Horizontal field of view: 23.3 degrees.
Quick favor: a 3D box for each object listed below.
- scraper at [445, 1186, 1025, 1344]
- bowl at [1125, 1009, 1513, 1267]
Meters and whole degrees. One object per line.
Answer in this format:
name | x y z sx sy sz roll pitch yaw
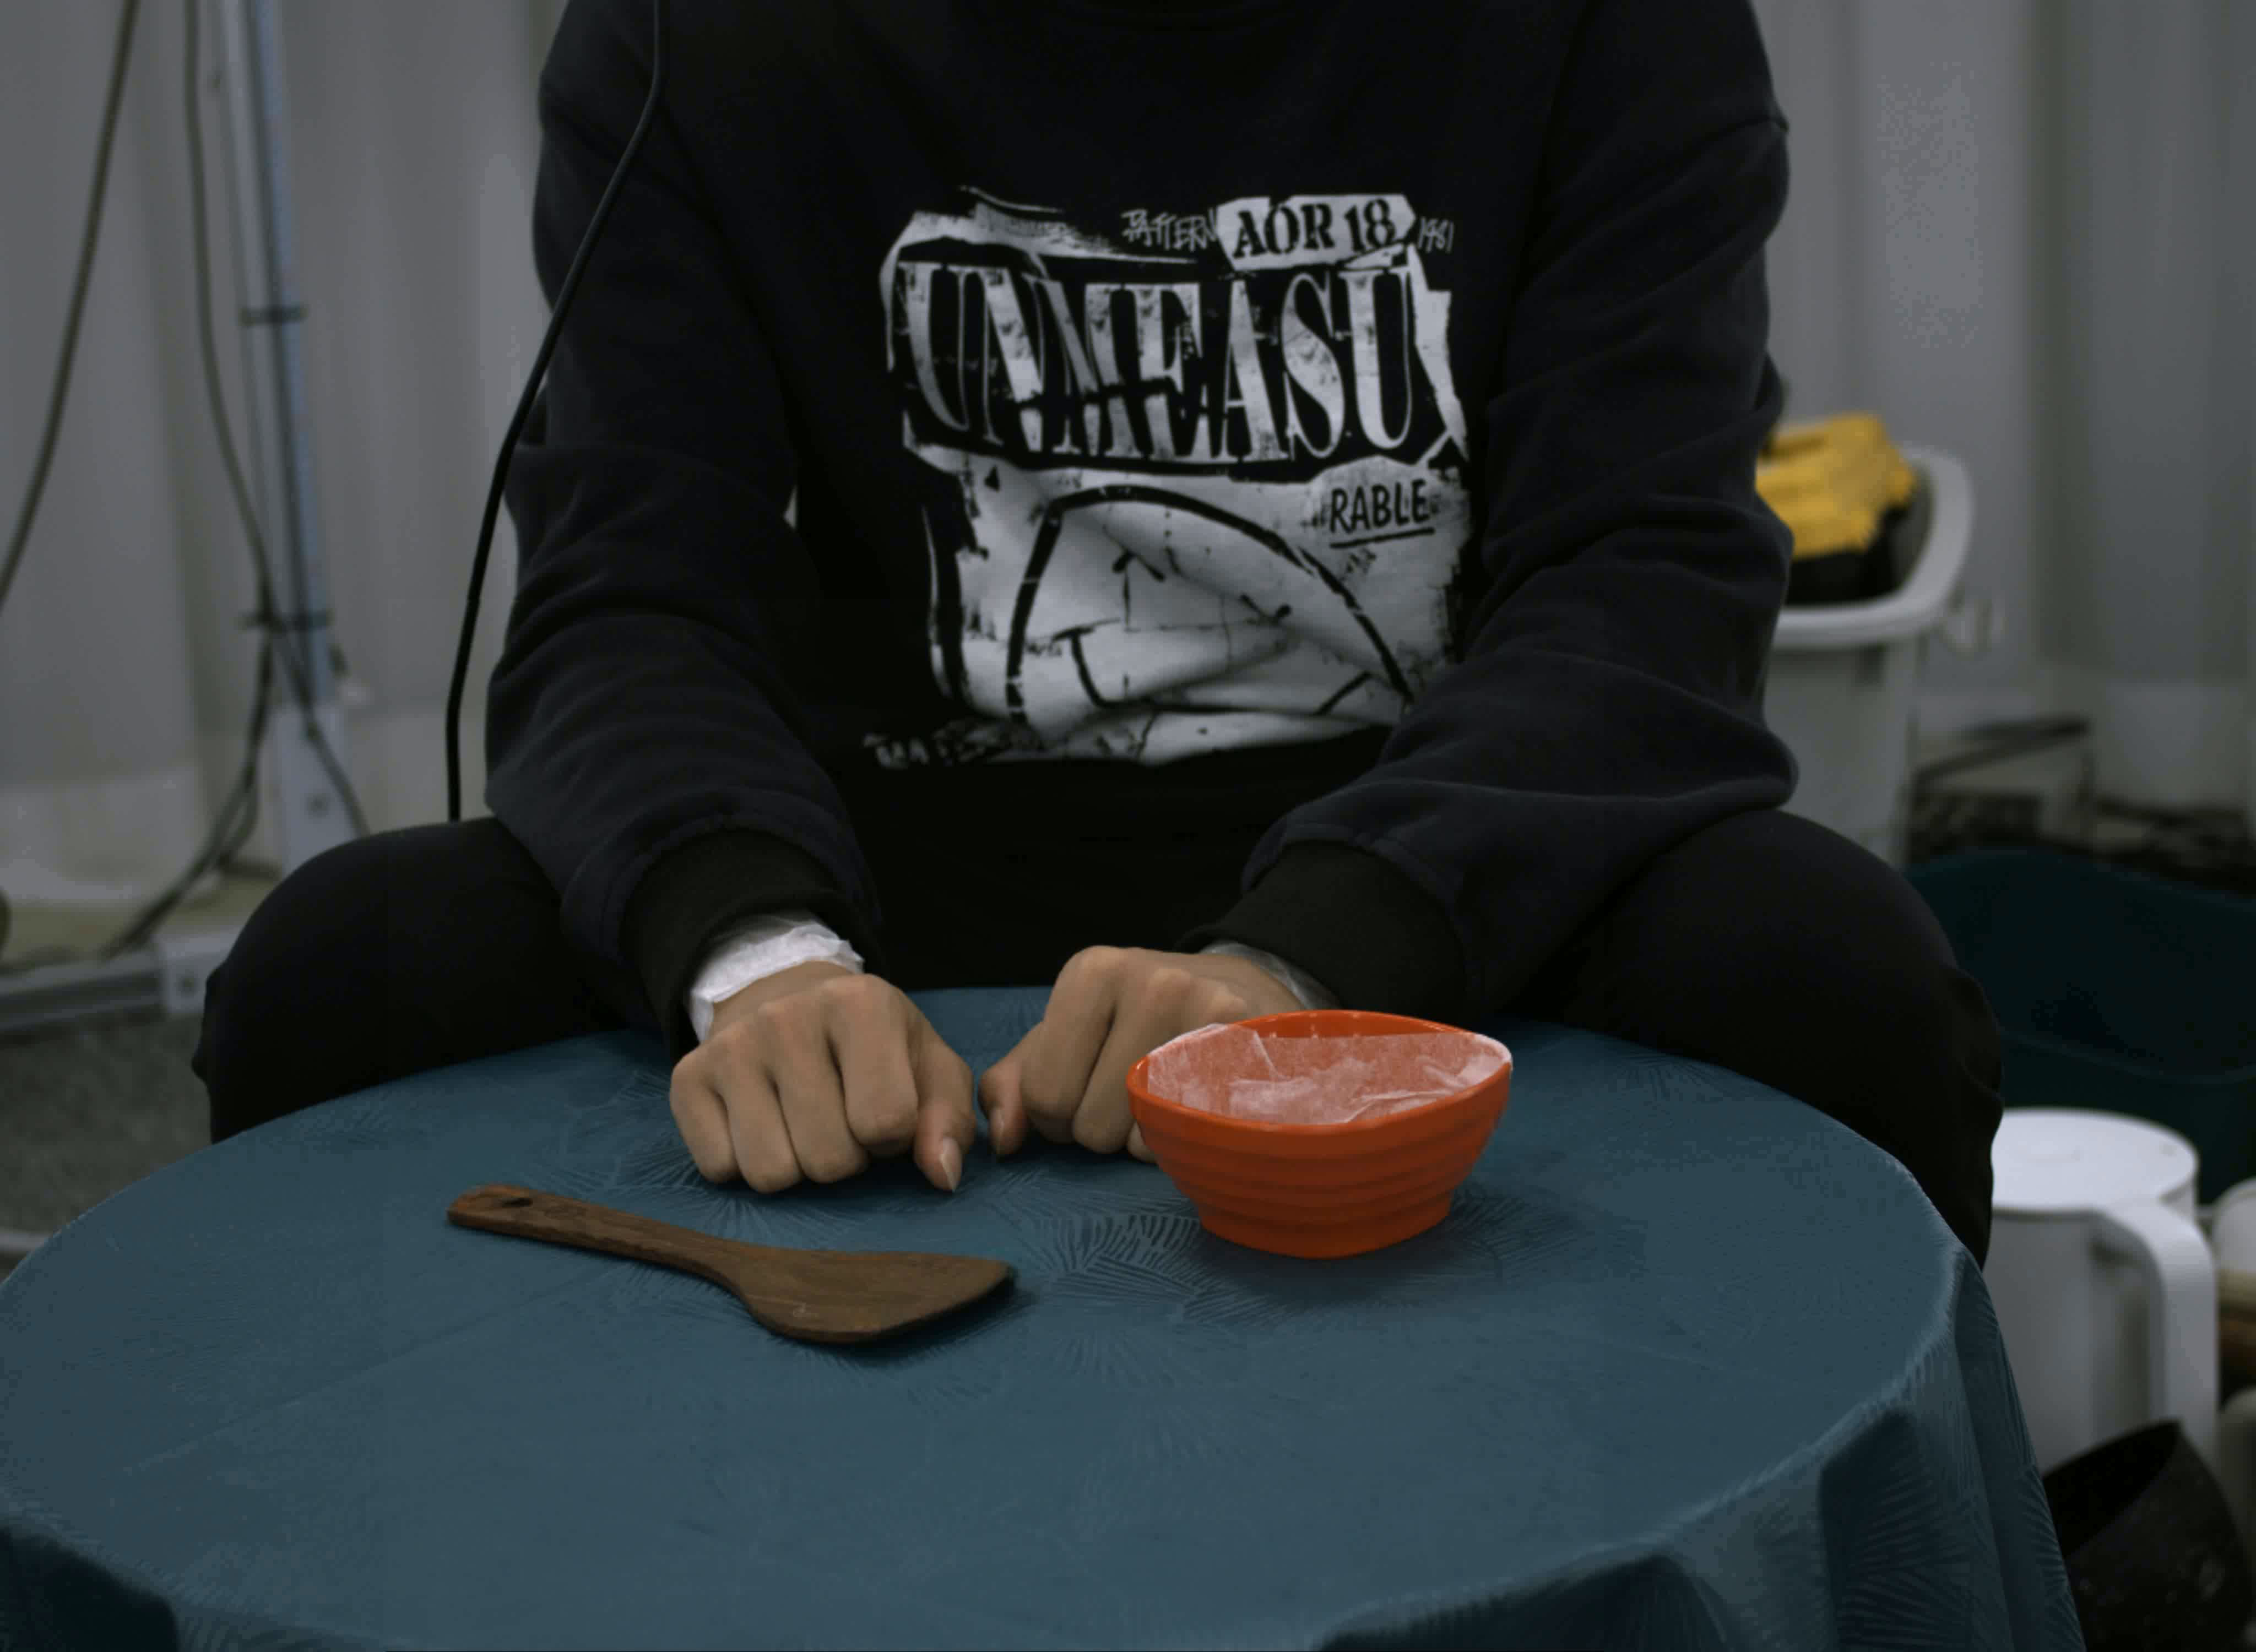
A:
scraper | -0.128 0.131 1.664 0.212 0.011 0.076 9 18 39
bowl | 0.060 0.098 1.673 0.118 0.051 0.120 -4 16 1
